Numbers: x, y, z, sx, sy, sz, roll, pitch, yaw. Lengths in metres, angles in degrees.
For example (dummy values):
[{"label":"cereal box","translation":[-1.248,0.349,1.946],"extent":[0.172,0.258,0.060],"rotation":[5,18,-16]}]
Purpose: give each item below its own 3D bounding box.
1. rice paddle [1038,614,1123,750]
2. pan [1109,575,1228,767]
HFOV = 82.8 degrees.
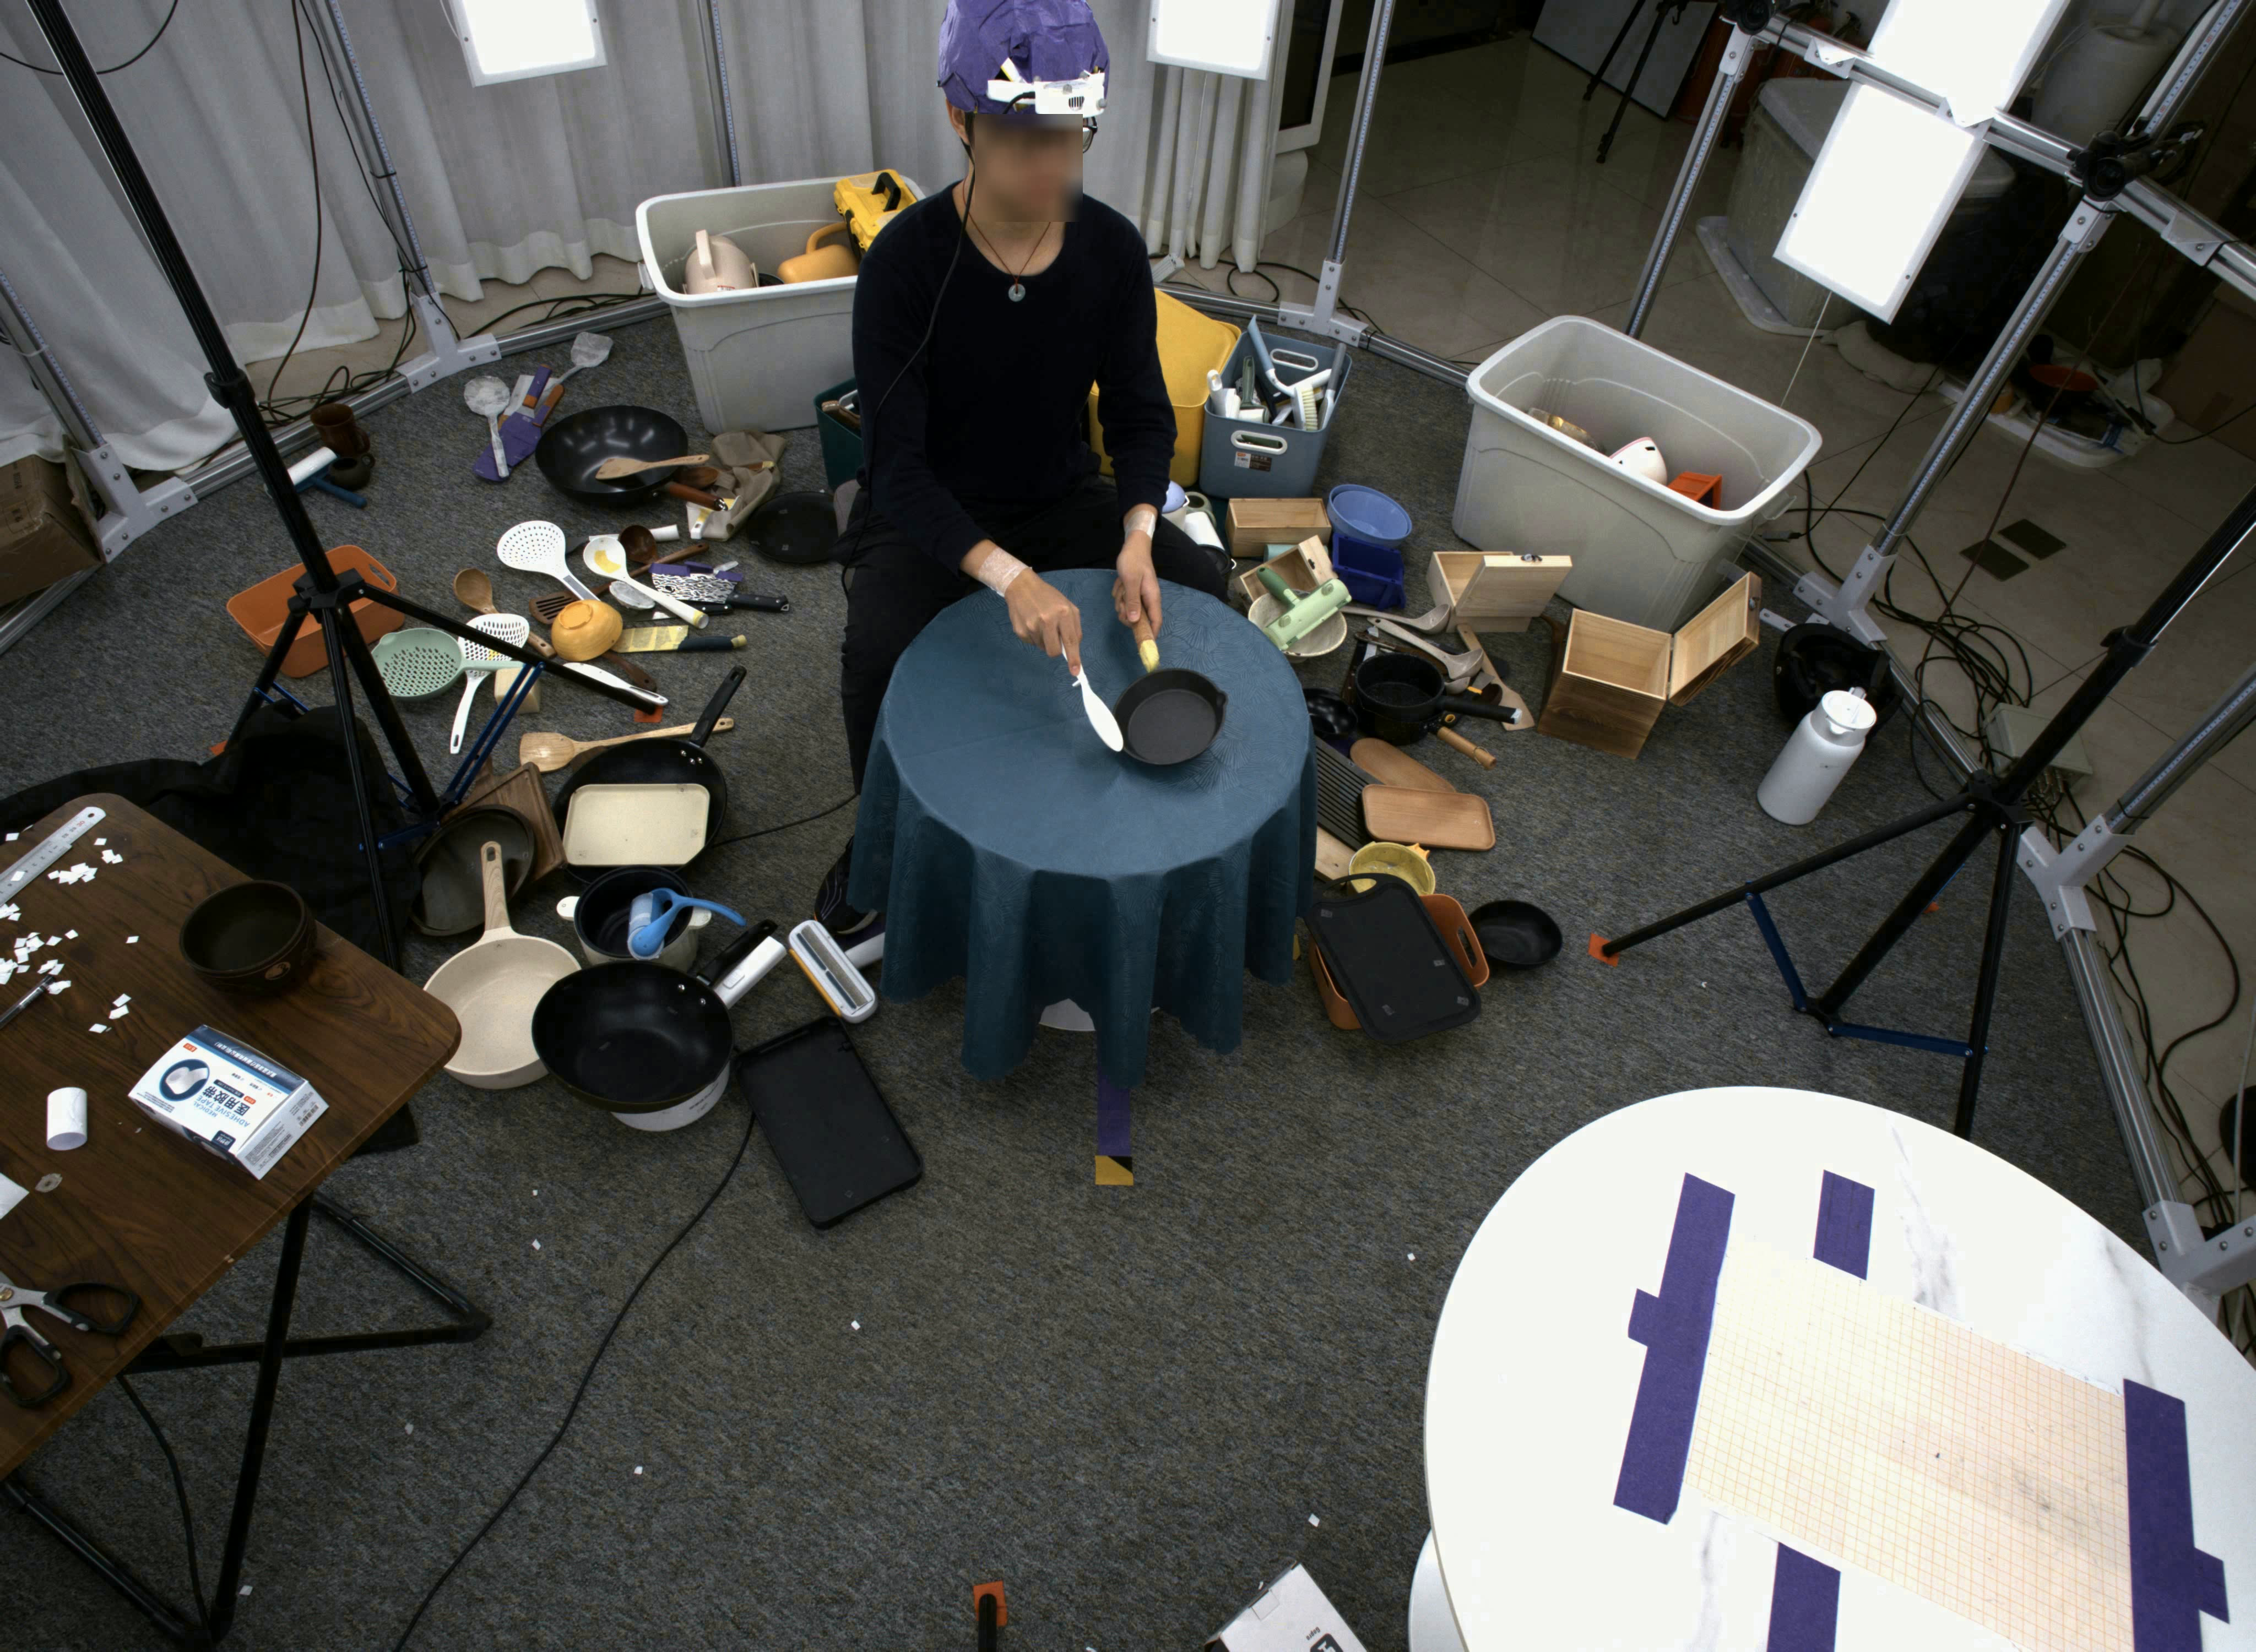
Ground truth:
[{"label":"rice paddle","translation":[-0.059,-0.192,1.729],"extent":[0.207,0.029,0.069],"rotation":[61,26,10]},{"label":"pan","translation":[0.040,-0.218,1.795],"extent":[0.169,0.048,0.332],"rotation":[-15,58,3]}]
